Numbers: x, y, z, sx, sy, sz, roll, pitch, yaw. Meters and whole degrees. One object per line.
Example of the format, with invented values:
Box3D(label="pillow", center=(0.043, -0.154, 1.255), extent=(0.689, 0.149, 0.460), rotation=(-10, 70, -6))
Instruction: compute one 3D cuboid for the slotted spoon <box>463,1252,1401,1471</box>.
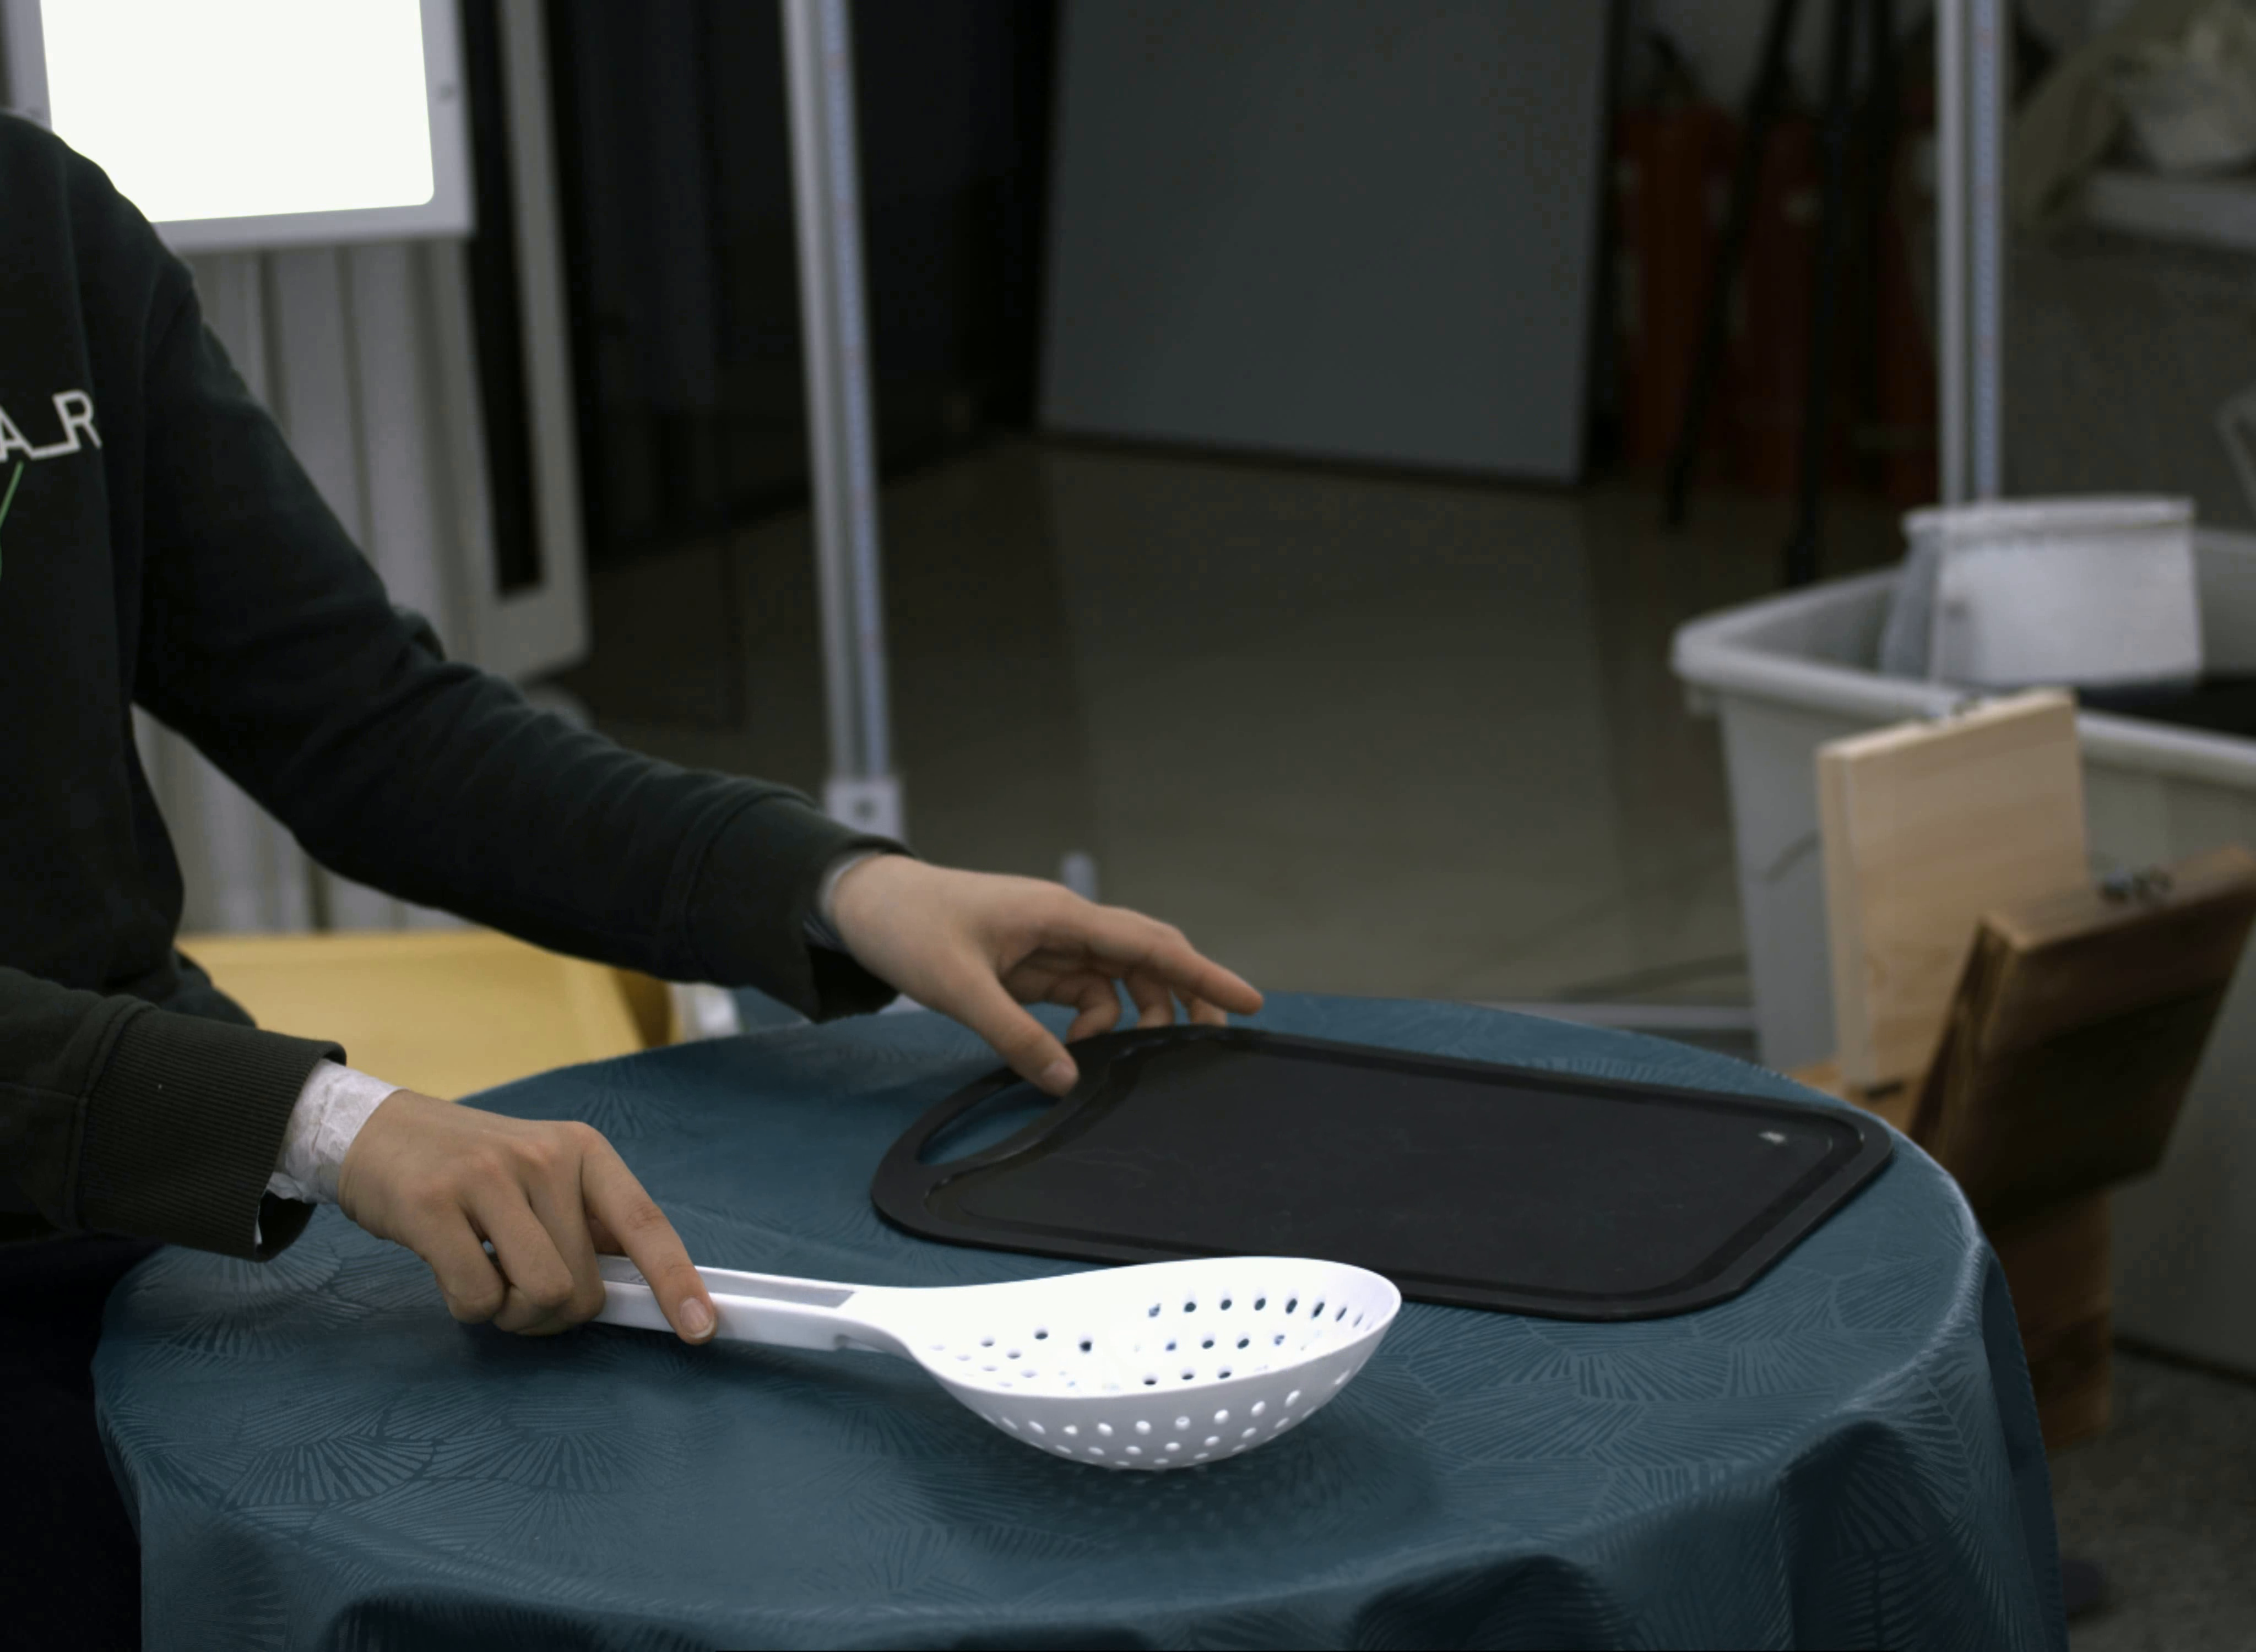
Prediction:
Box3D(label="slotted spoon", center=(-0.070, 0.146, 1.595), extent=(0.352, 0.046, 0.133), rotation=(7, 15, 40))

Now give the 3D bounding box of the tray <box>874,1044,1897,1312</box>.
Box3D(label="tray", center=(0.077, 0.111, 1.765), extent=(0.326, 0.010, 0.208), rotation=(4, 17, 29))
